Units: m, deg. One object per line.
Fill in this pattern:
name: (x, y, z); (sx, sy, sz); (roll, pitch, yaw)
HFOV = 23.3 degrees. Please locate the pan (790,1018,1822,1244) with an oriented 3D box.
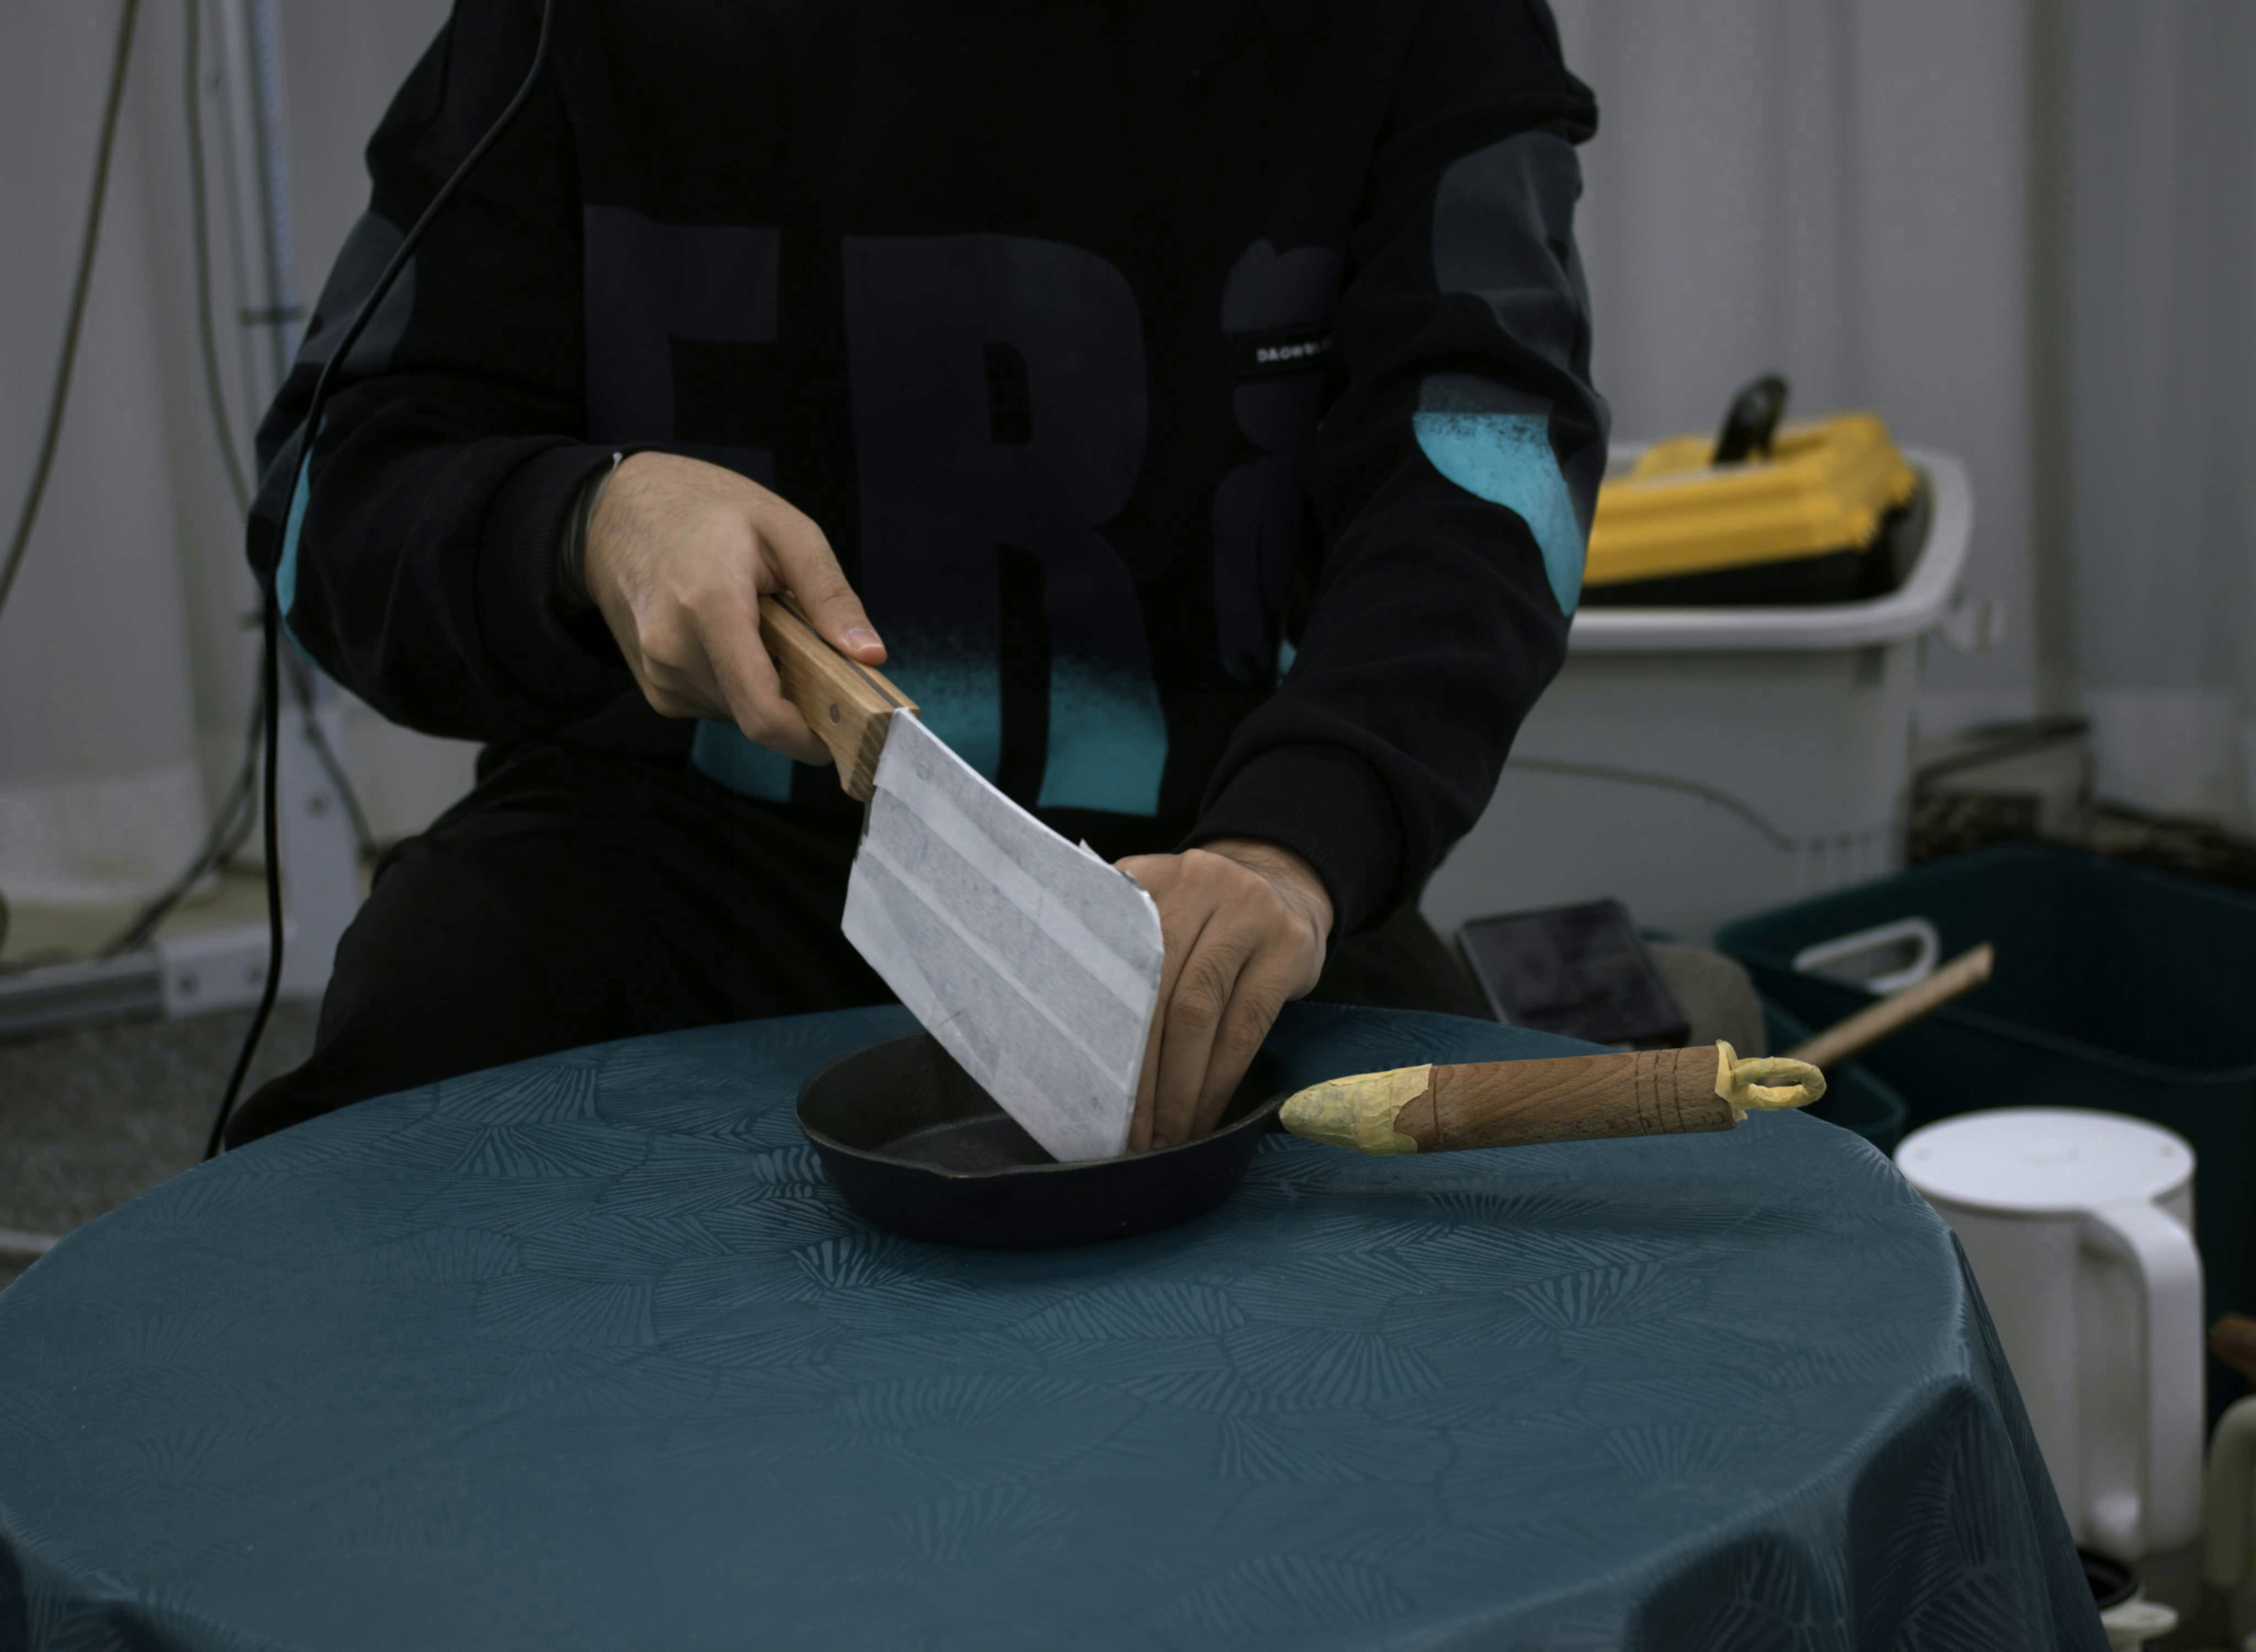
pan: (0.054, 0.091, 1.697); (0.324, 0.049, 0.169); (0, 14, 16)

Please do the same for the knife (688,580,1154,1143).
knife: (-0.070, 0.002, 1.787); (0.021, 0.113, 0.319); (-1, 29, -32)
